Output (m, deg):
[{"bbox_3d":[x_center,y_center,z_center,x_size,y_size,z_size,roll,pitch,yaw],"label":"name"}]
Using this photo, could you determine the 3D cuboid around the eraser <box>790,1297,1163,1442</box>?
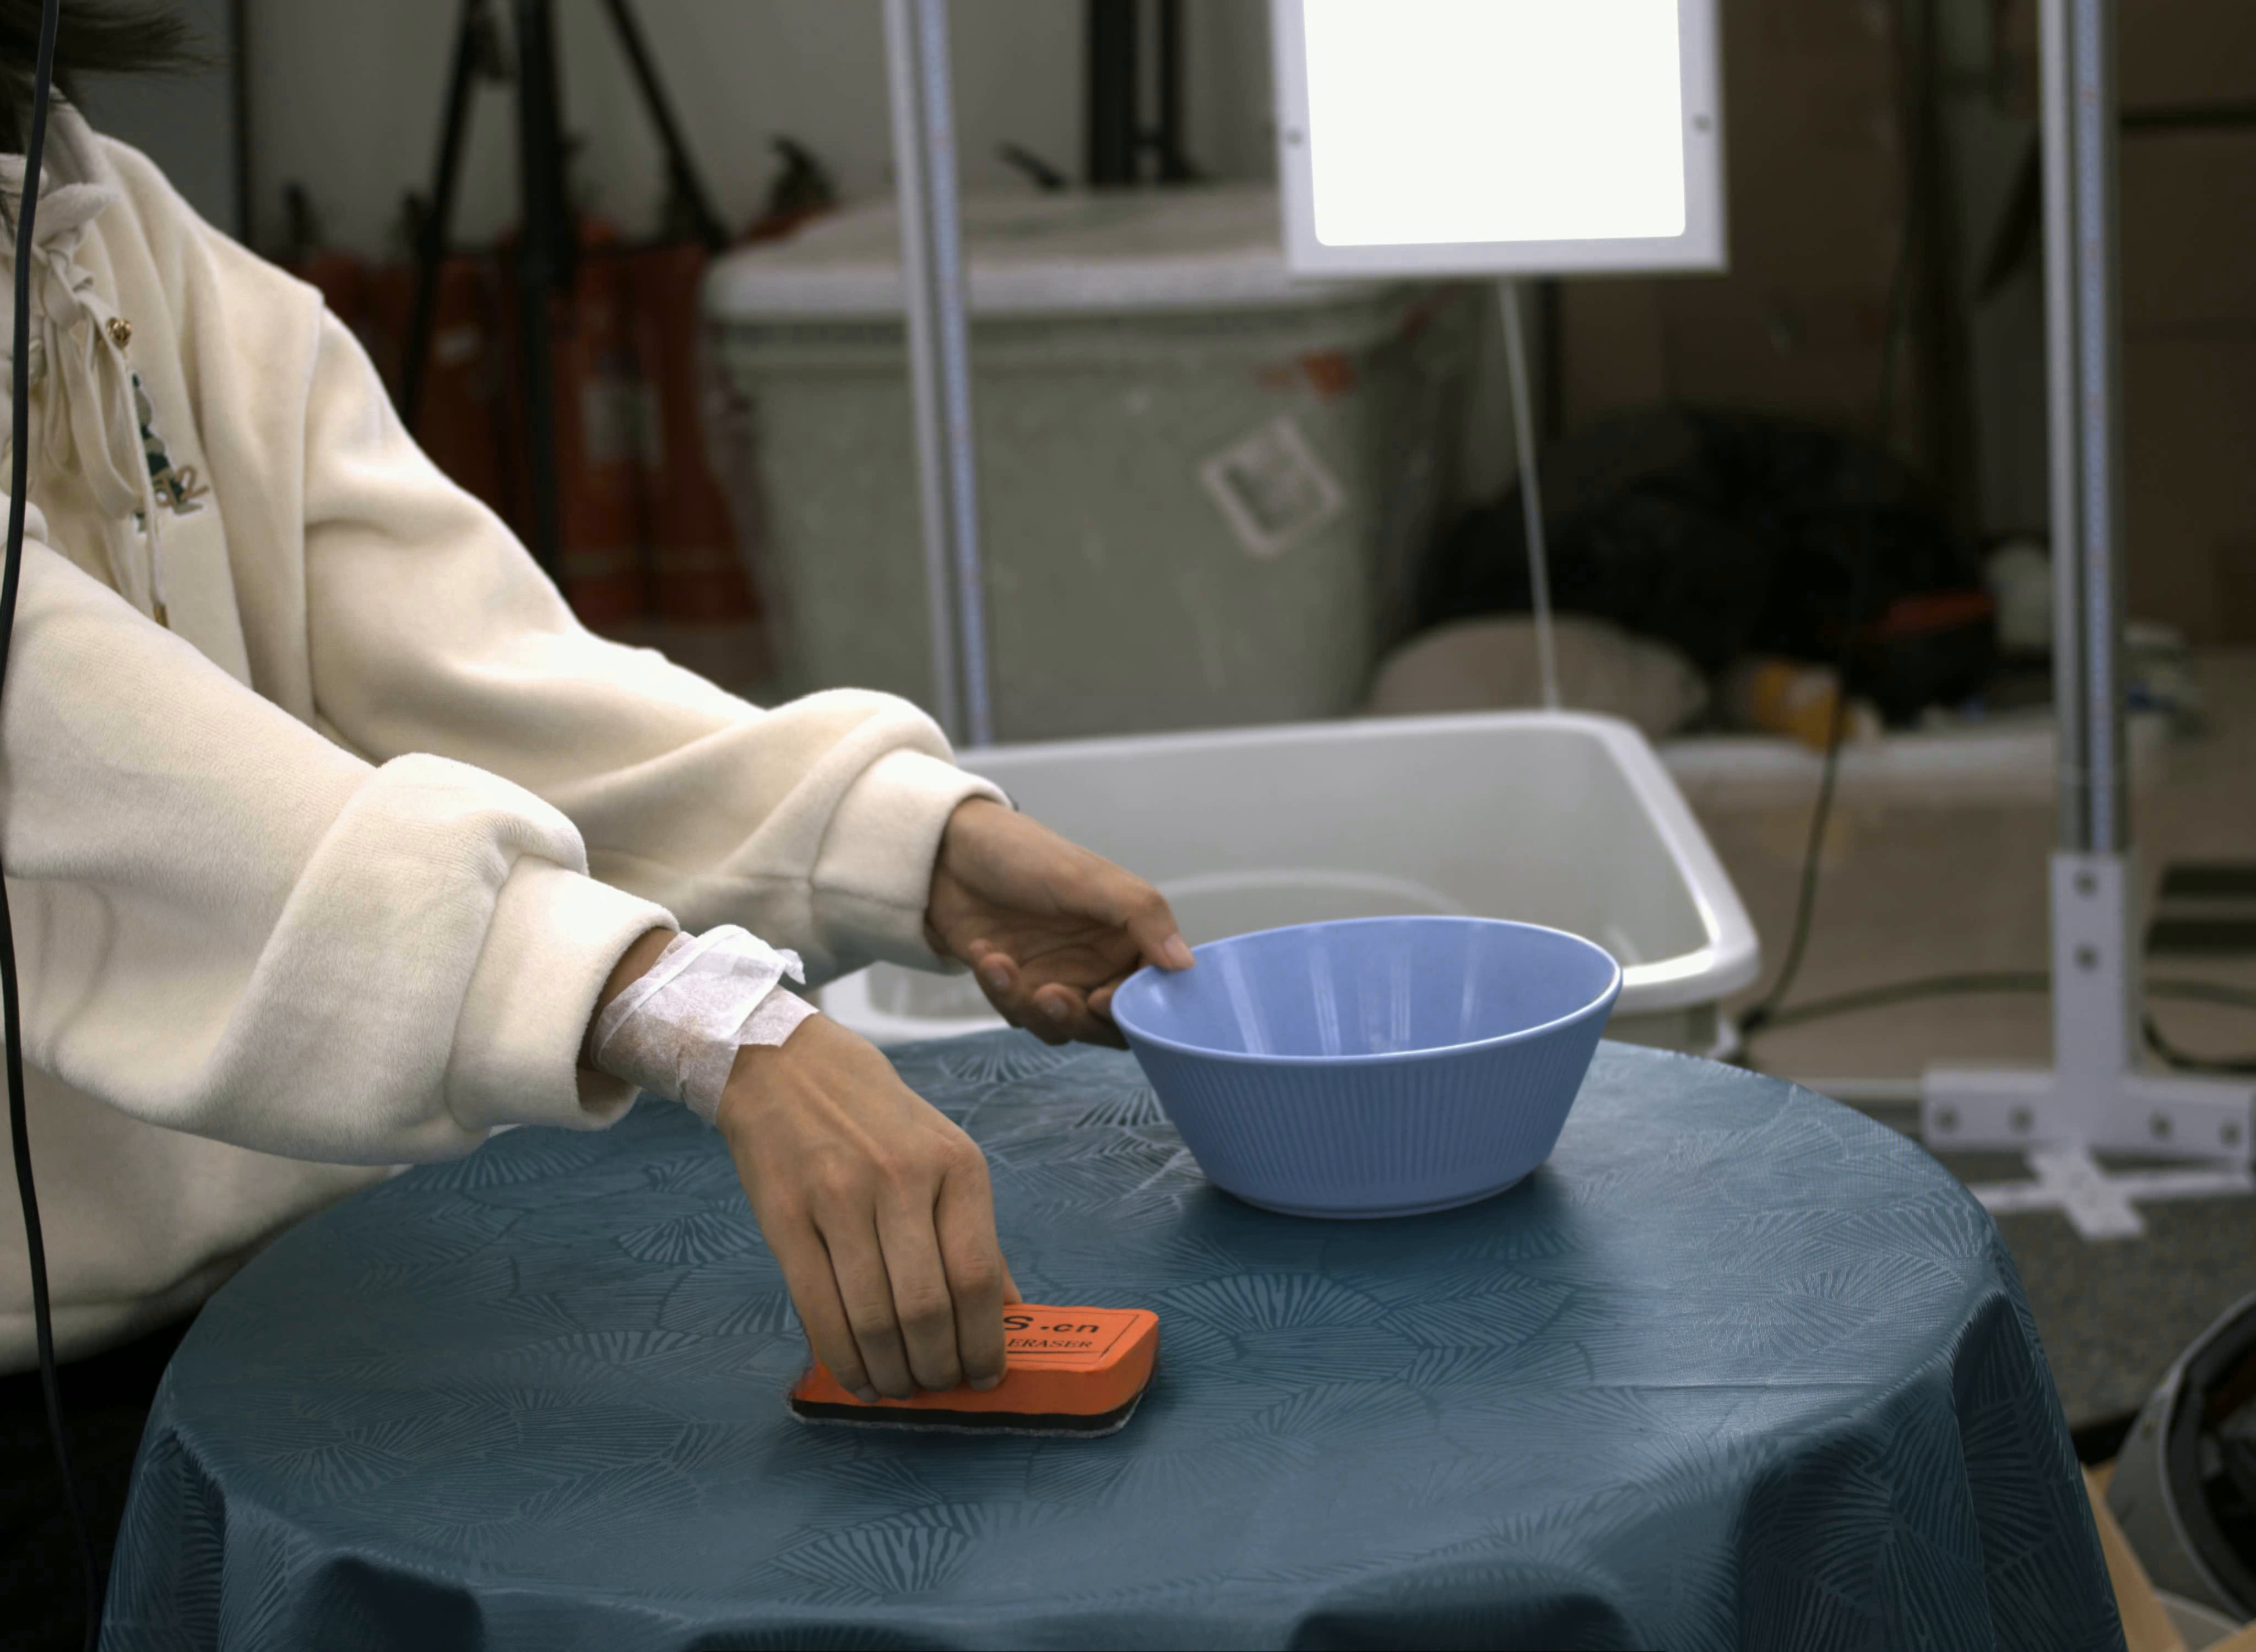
[{"bbox_3d":[-0.046,0.167,1.702,0.109,0.023,0.058,1,17,23],"label":"eraser"}]

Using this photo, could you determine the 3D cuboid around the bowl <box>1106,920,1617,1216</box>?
[{"bbox_3d":[0.082,0.085,1.888,0.175,0.070,0.176,-5,14,0],"label":"bowl"}]
